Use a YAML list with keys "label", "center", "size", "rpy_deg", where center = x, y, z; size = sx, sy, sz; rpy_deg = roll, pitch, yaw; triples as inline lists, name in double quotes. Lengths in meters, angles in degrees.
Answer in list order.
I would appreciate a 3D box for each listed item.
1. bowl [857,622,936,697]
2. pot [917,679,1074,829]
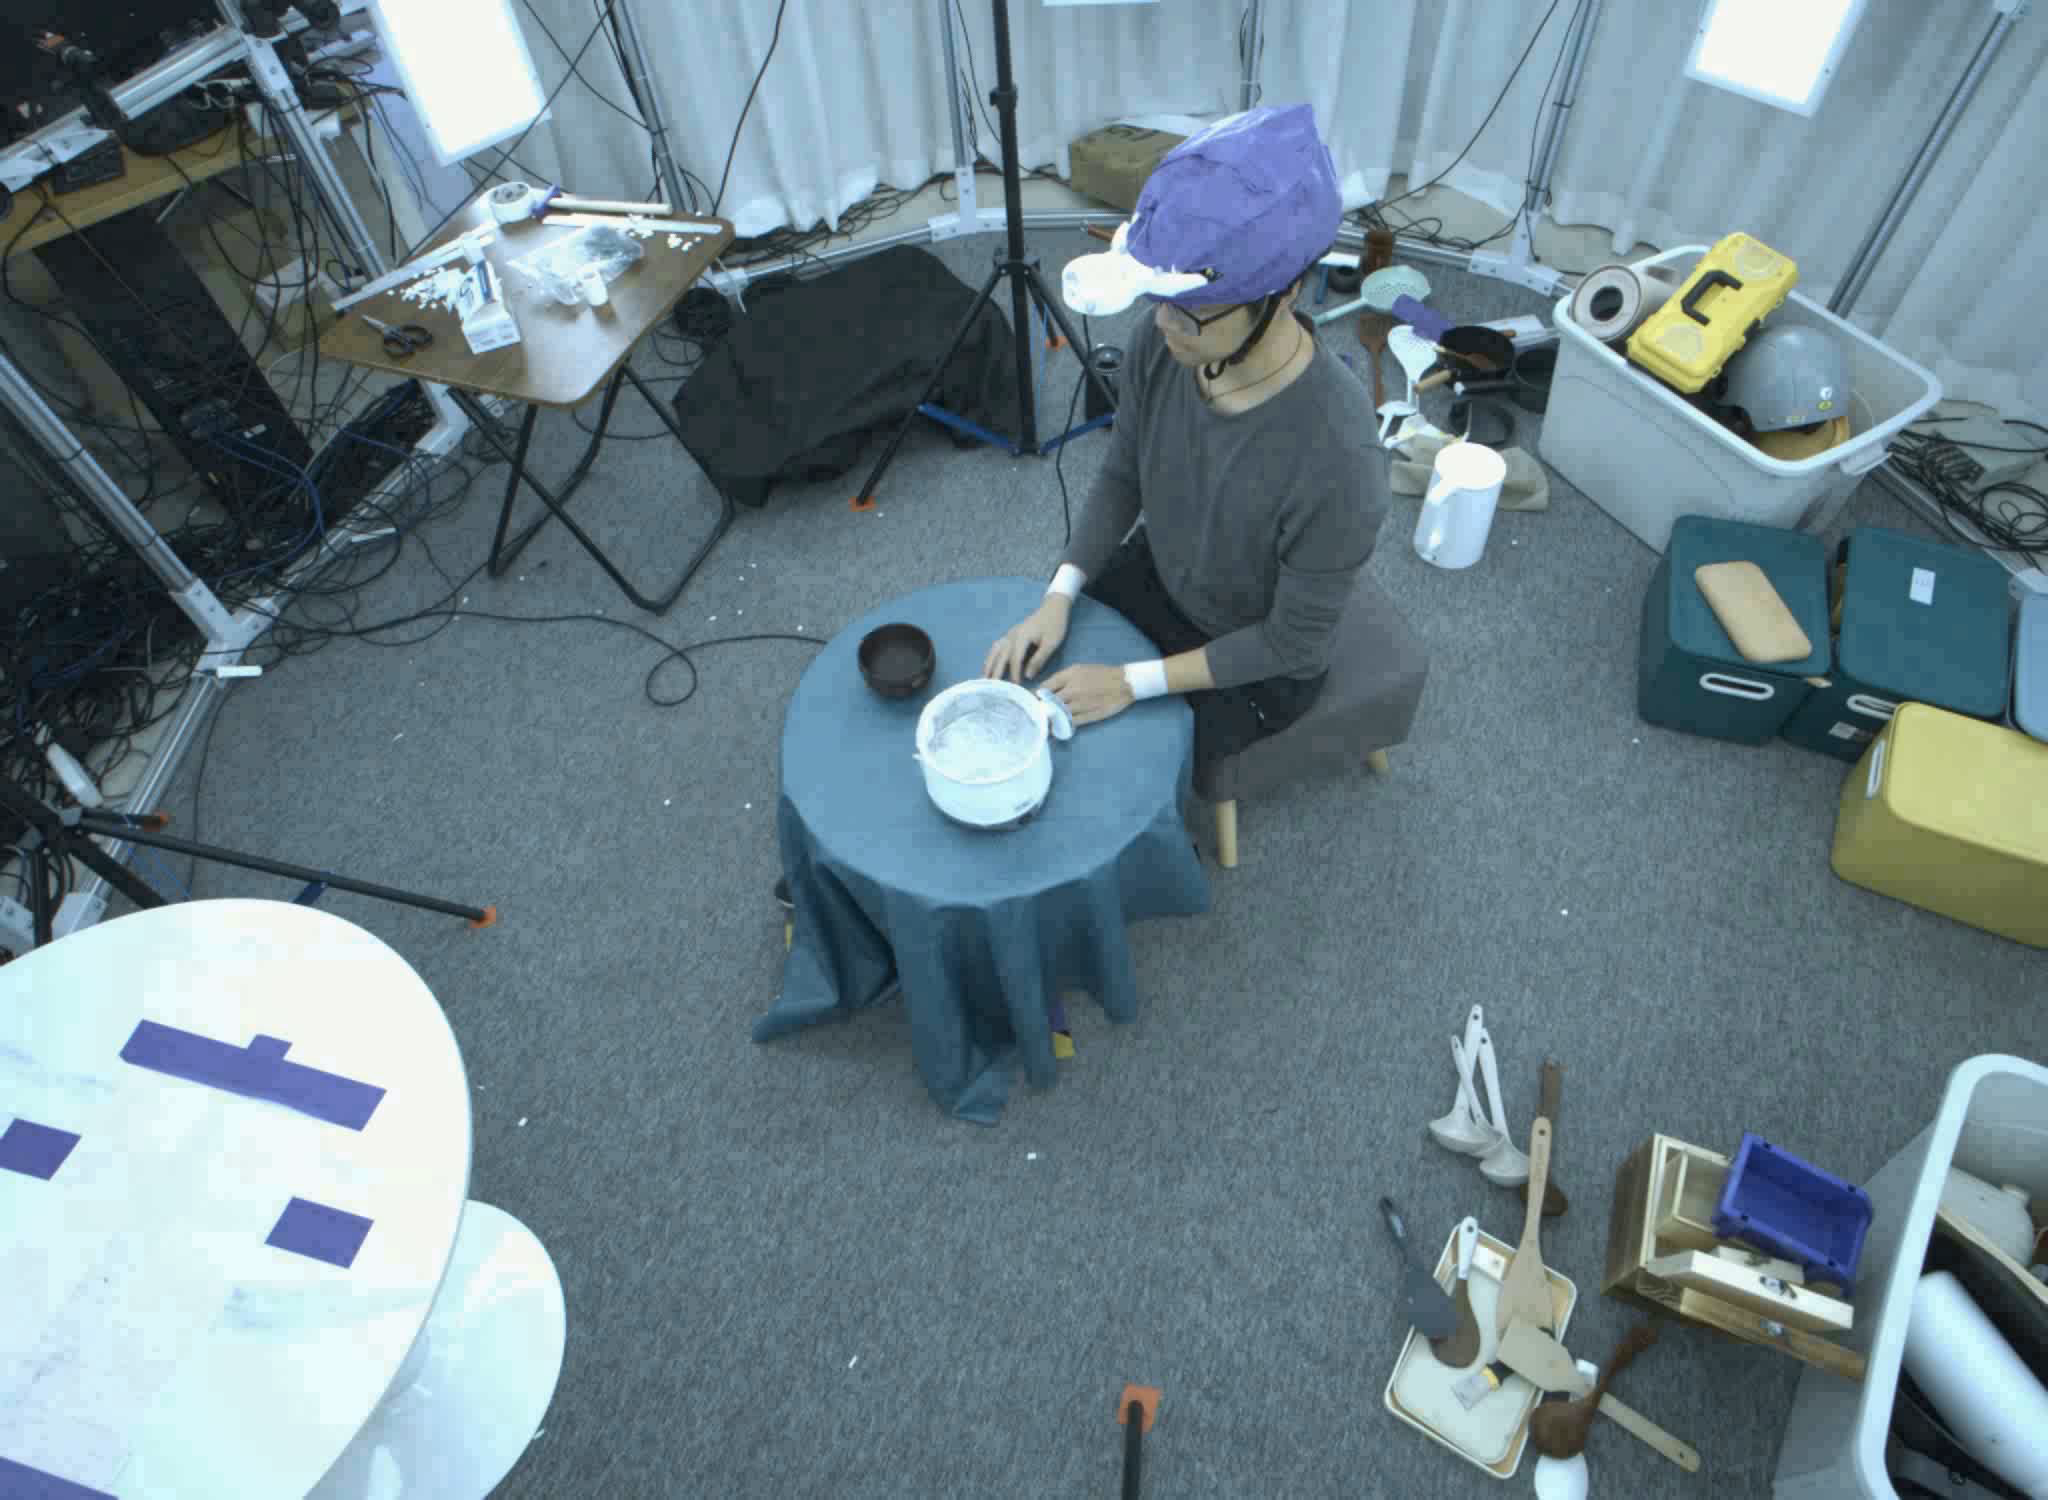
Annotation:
- label: "bowl"
  center: [-0.191, -0.128, 1.847]
  size: [0.118, 0.070, 0.117]
  rpy_deg: [0, 53, 1]
- label: "pot"
  center: [-0.031, -0.004, 1.715]
  size: [0.235, 0.138, 0.175]
  rpy_deg: [-33, 60, -20]
